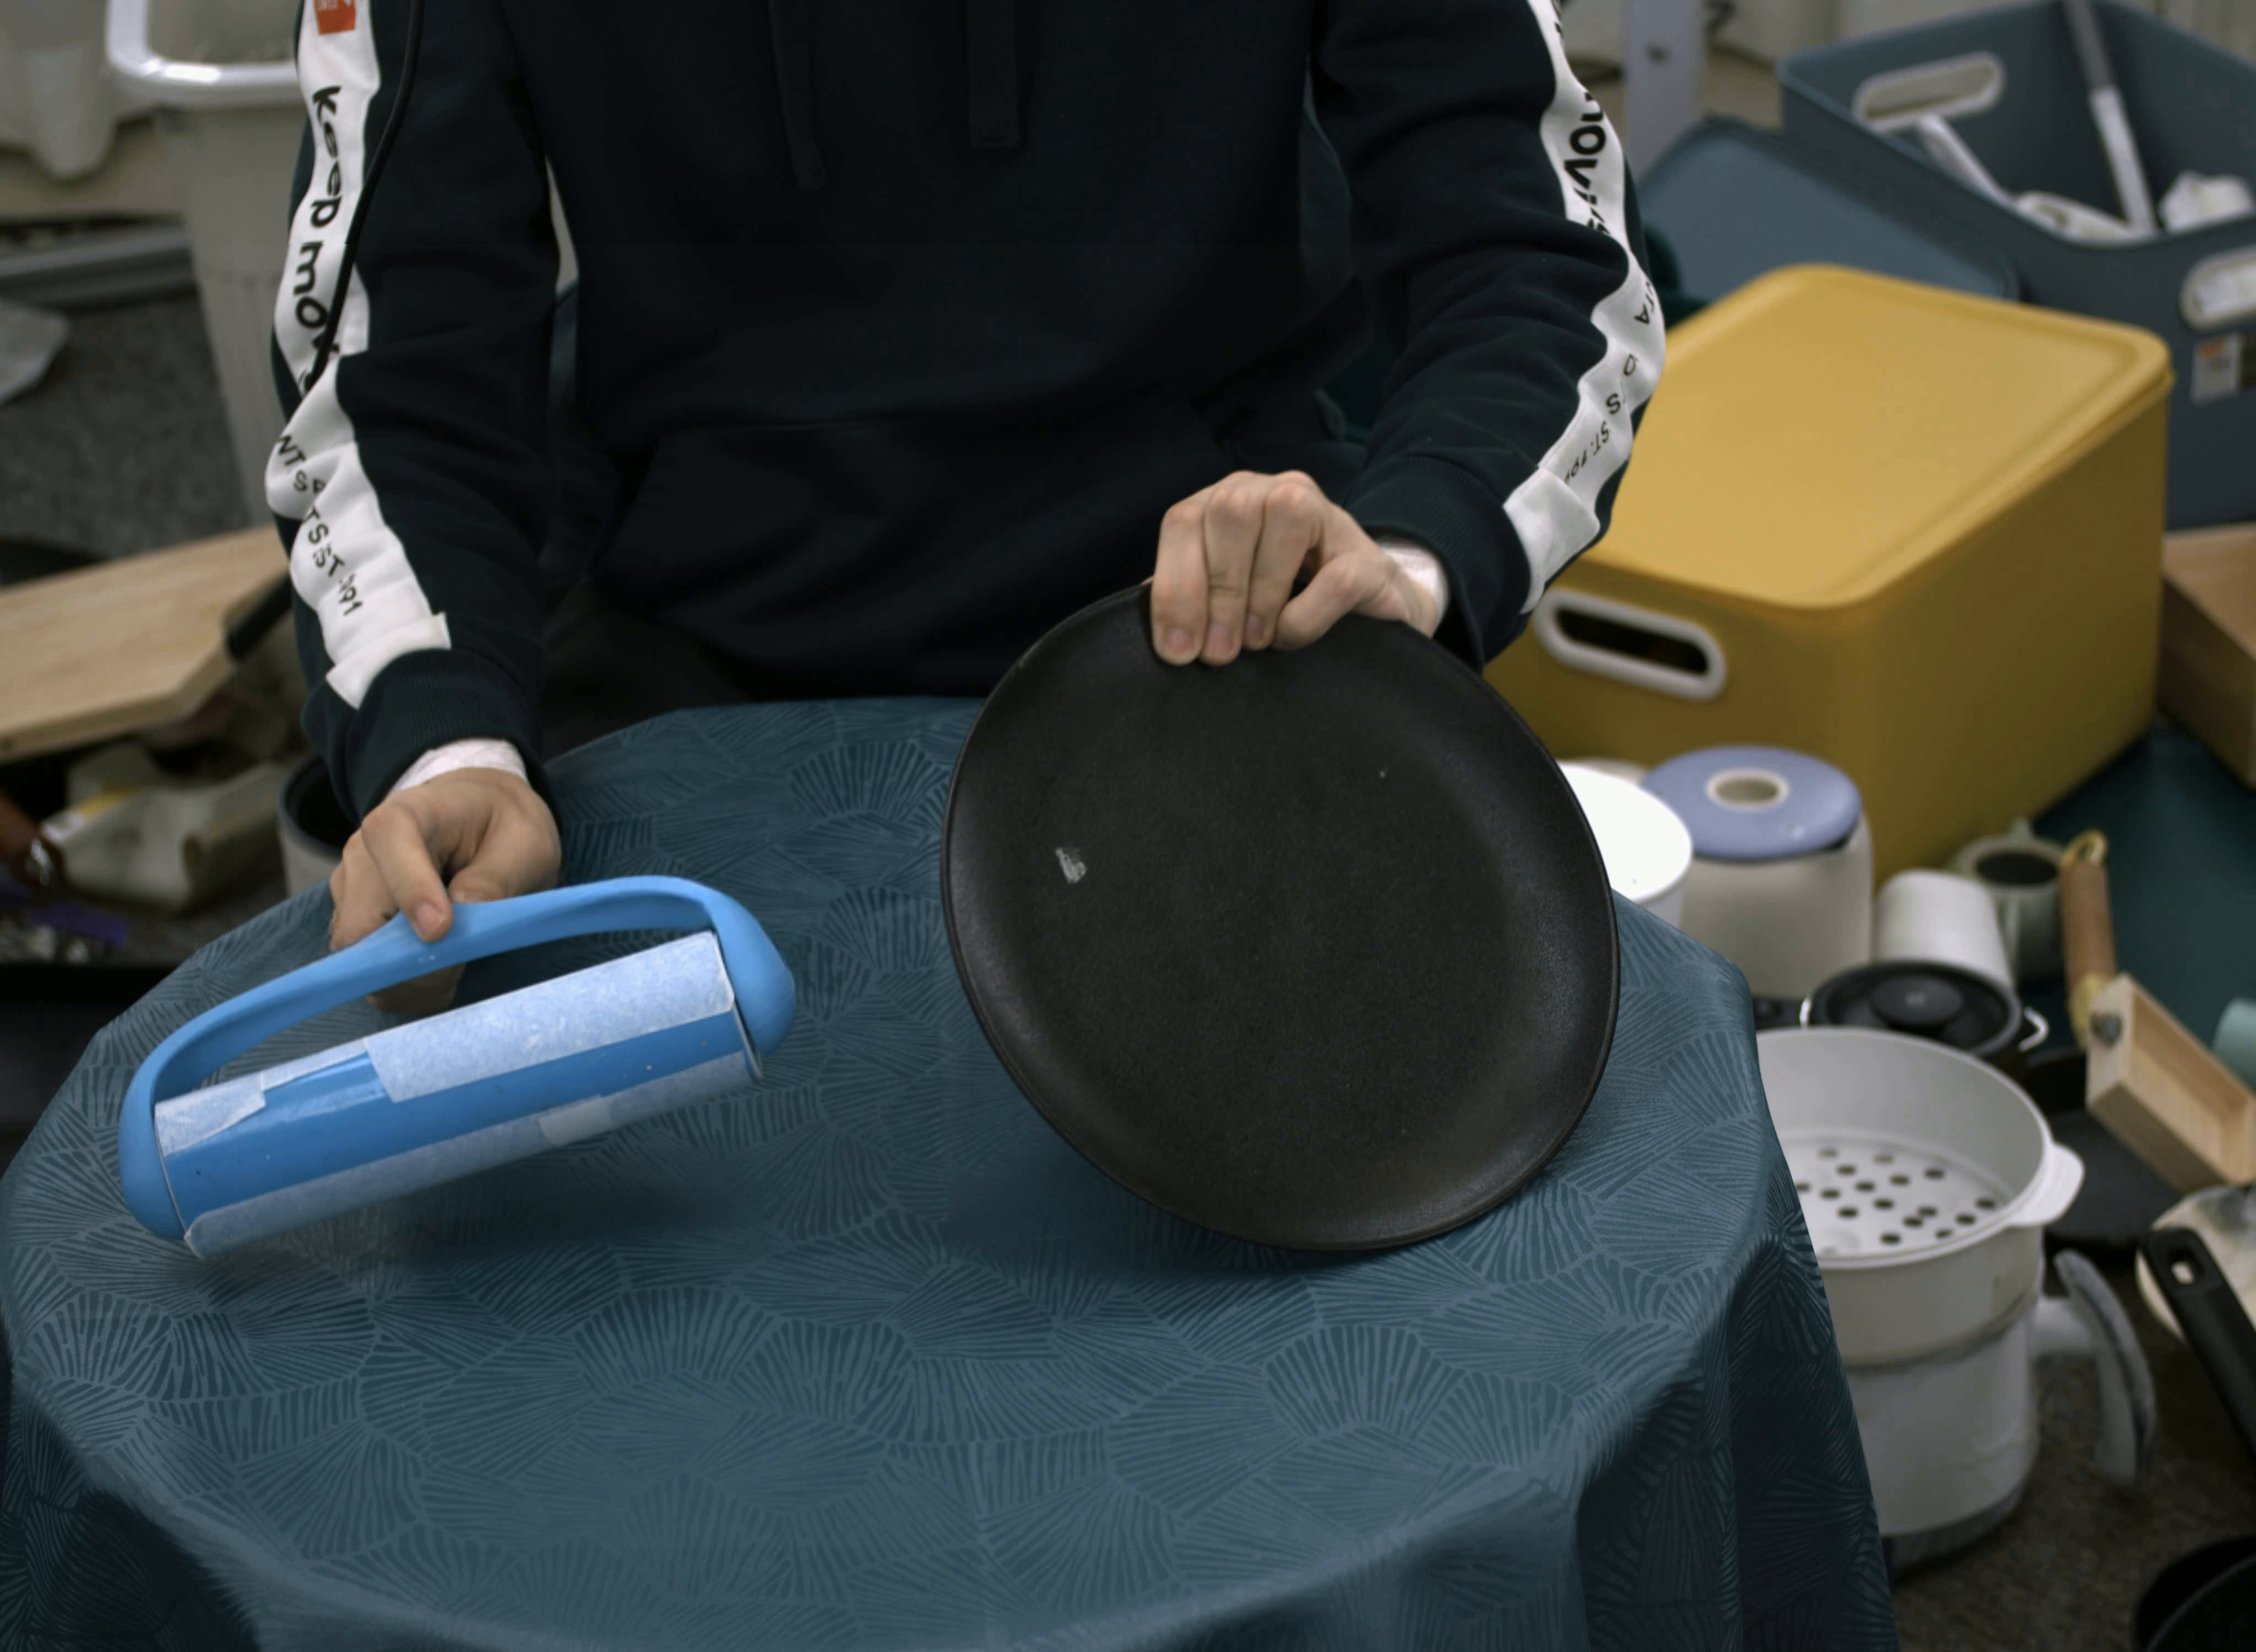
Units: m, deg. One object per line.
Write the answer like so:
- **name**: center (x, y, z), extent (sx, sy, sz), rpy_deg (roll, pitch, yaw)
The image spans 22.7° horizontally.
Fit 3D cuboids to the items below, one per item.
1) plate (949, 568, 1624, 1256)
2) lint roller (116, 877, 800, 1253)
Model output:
- **plate**: center (0.051, 0.029, 1.865), extent (0.244, 0.023, 0.249), rpy_deg (10, 62, -20)
- **lint roller**: center (-0.230, 0.060, 1.881), extent (0.228, 0.067, 0.182), rpy_deg (-19, 27, -5)
